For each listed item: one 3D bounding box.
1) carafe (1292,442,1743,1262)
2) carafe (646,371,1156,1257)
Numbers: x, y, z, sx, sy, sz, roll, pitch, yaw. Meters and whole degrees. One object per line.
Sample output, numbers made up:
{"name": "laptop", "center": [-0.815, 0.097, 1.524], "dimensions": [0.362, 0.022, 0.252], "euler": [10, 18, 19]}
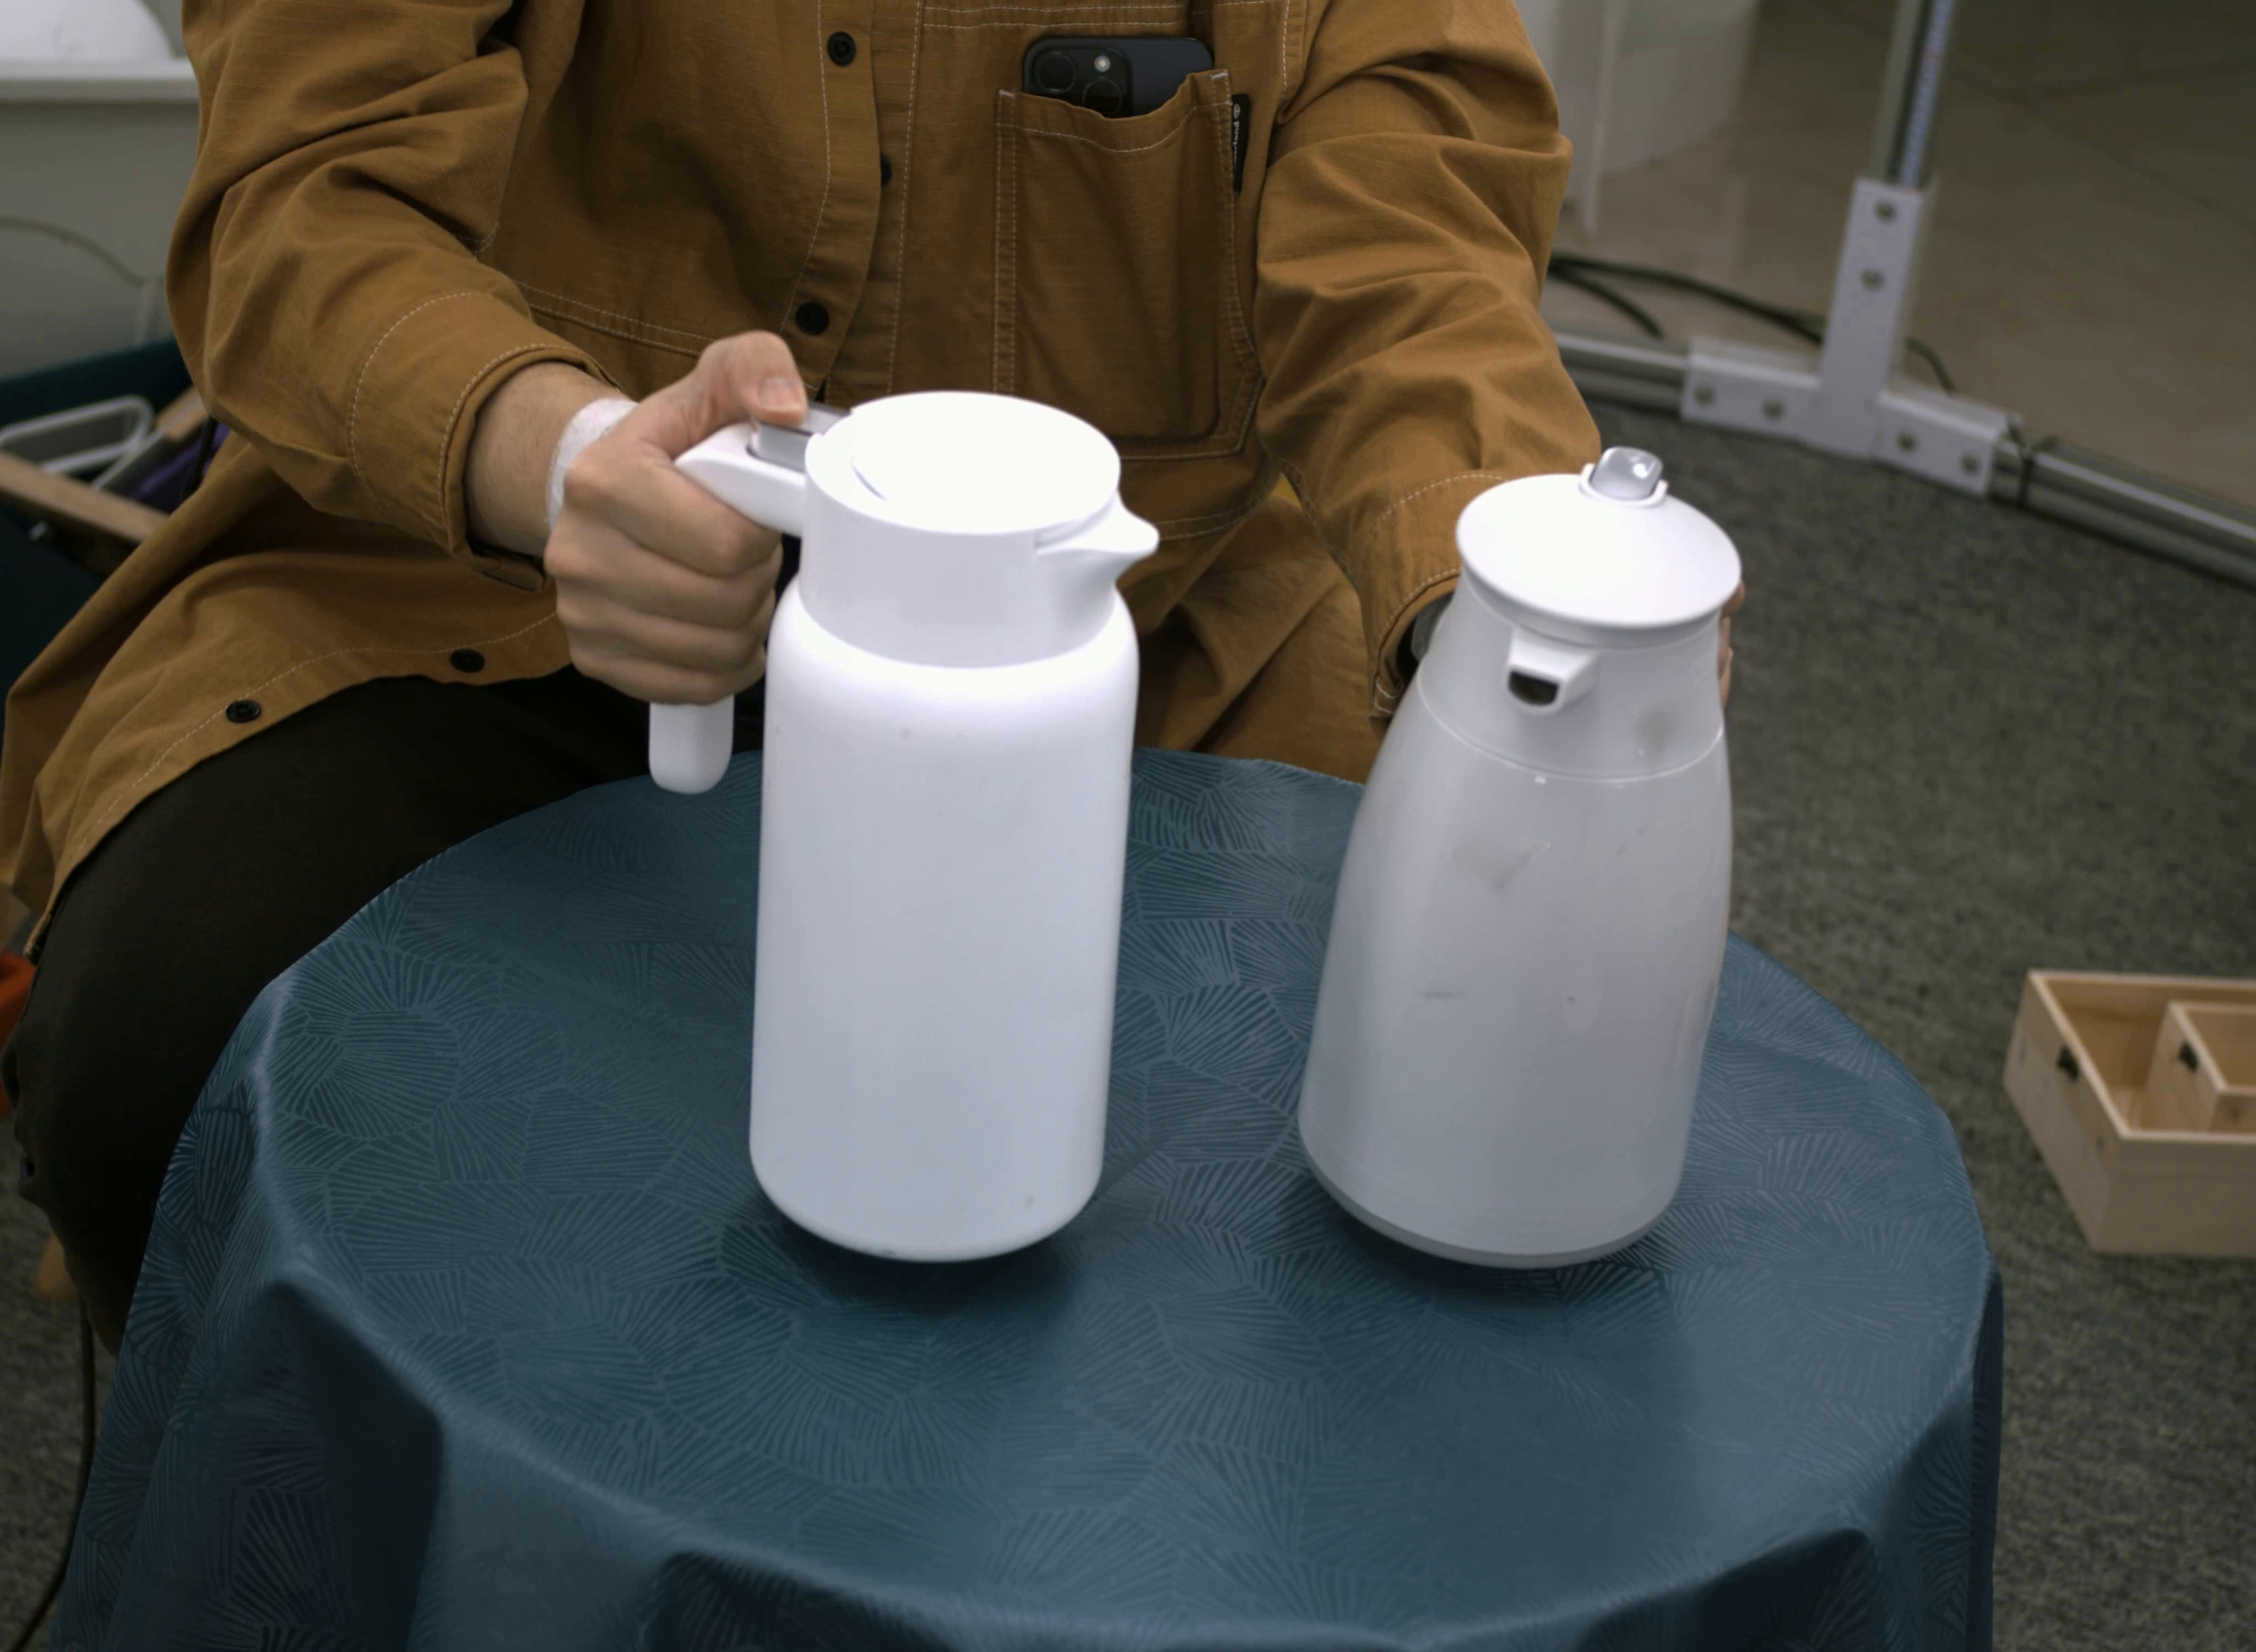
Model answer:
{"name": "carafe", "center": [0.141, -0.003, 1.759], "dimensions": [0.133, 0.247, 0.168], "euler": [16, 33, 13]}
{"name": "carafe", "center": [-0.076, -0.006, 1.704], "dimensions": [0.173, 0.268, 0.124], "euler": [17, 33, 23]}
